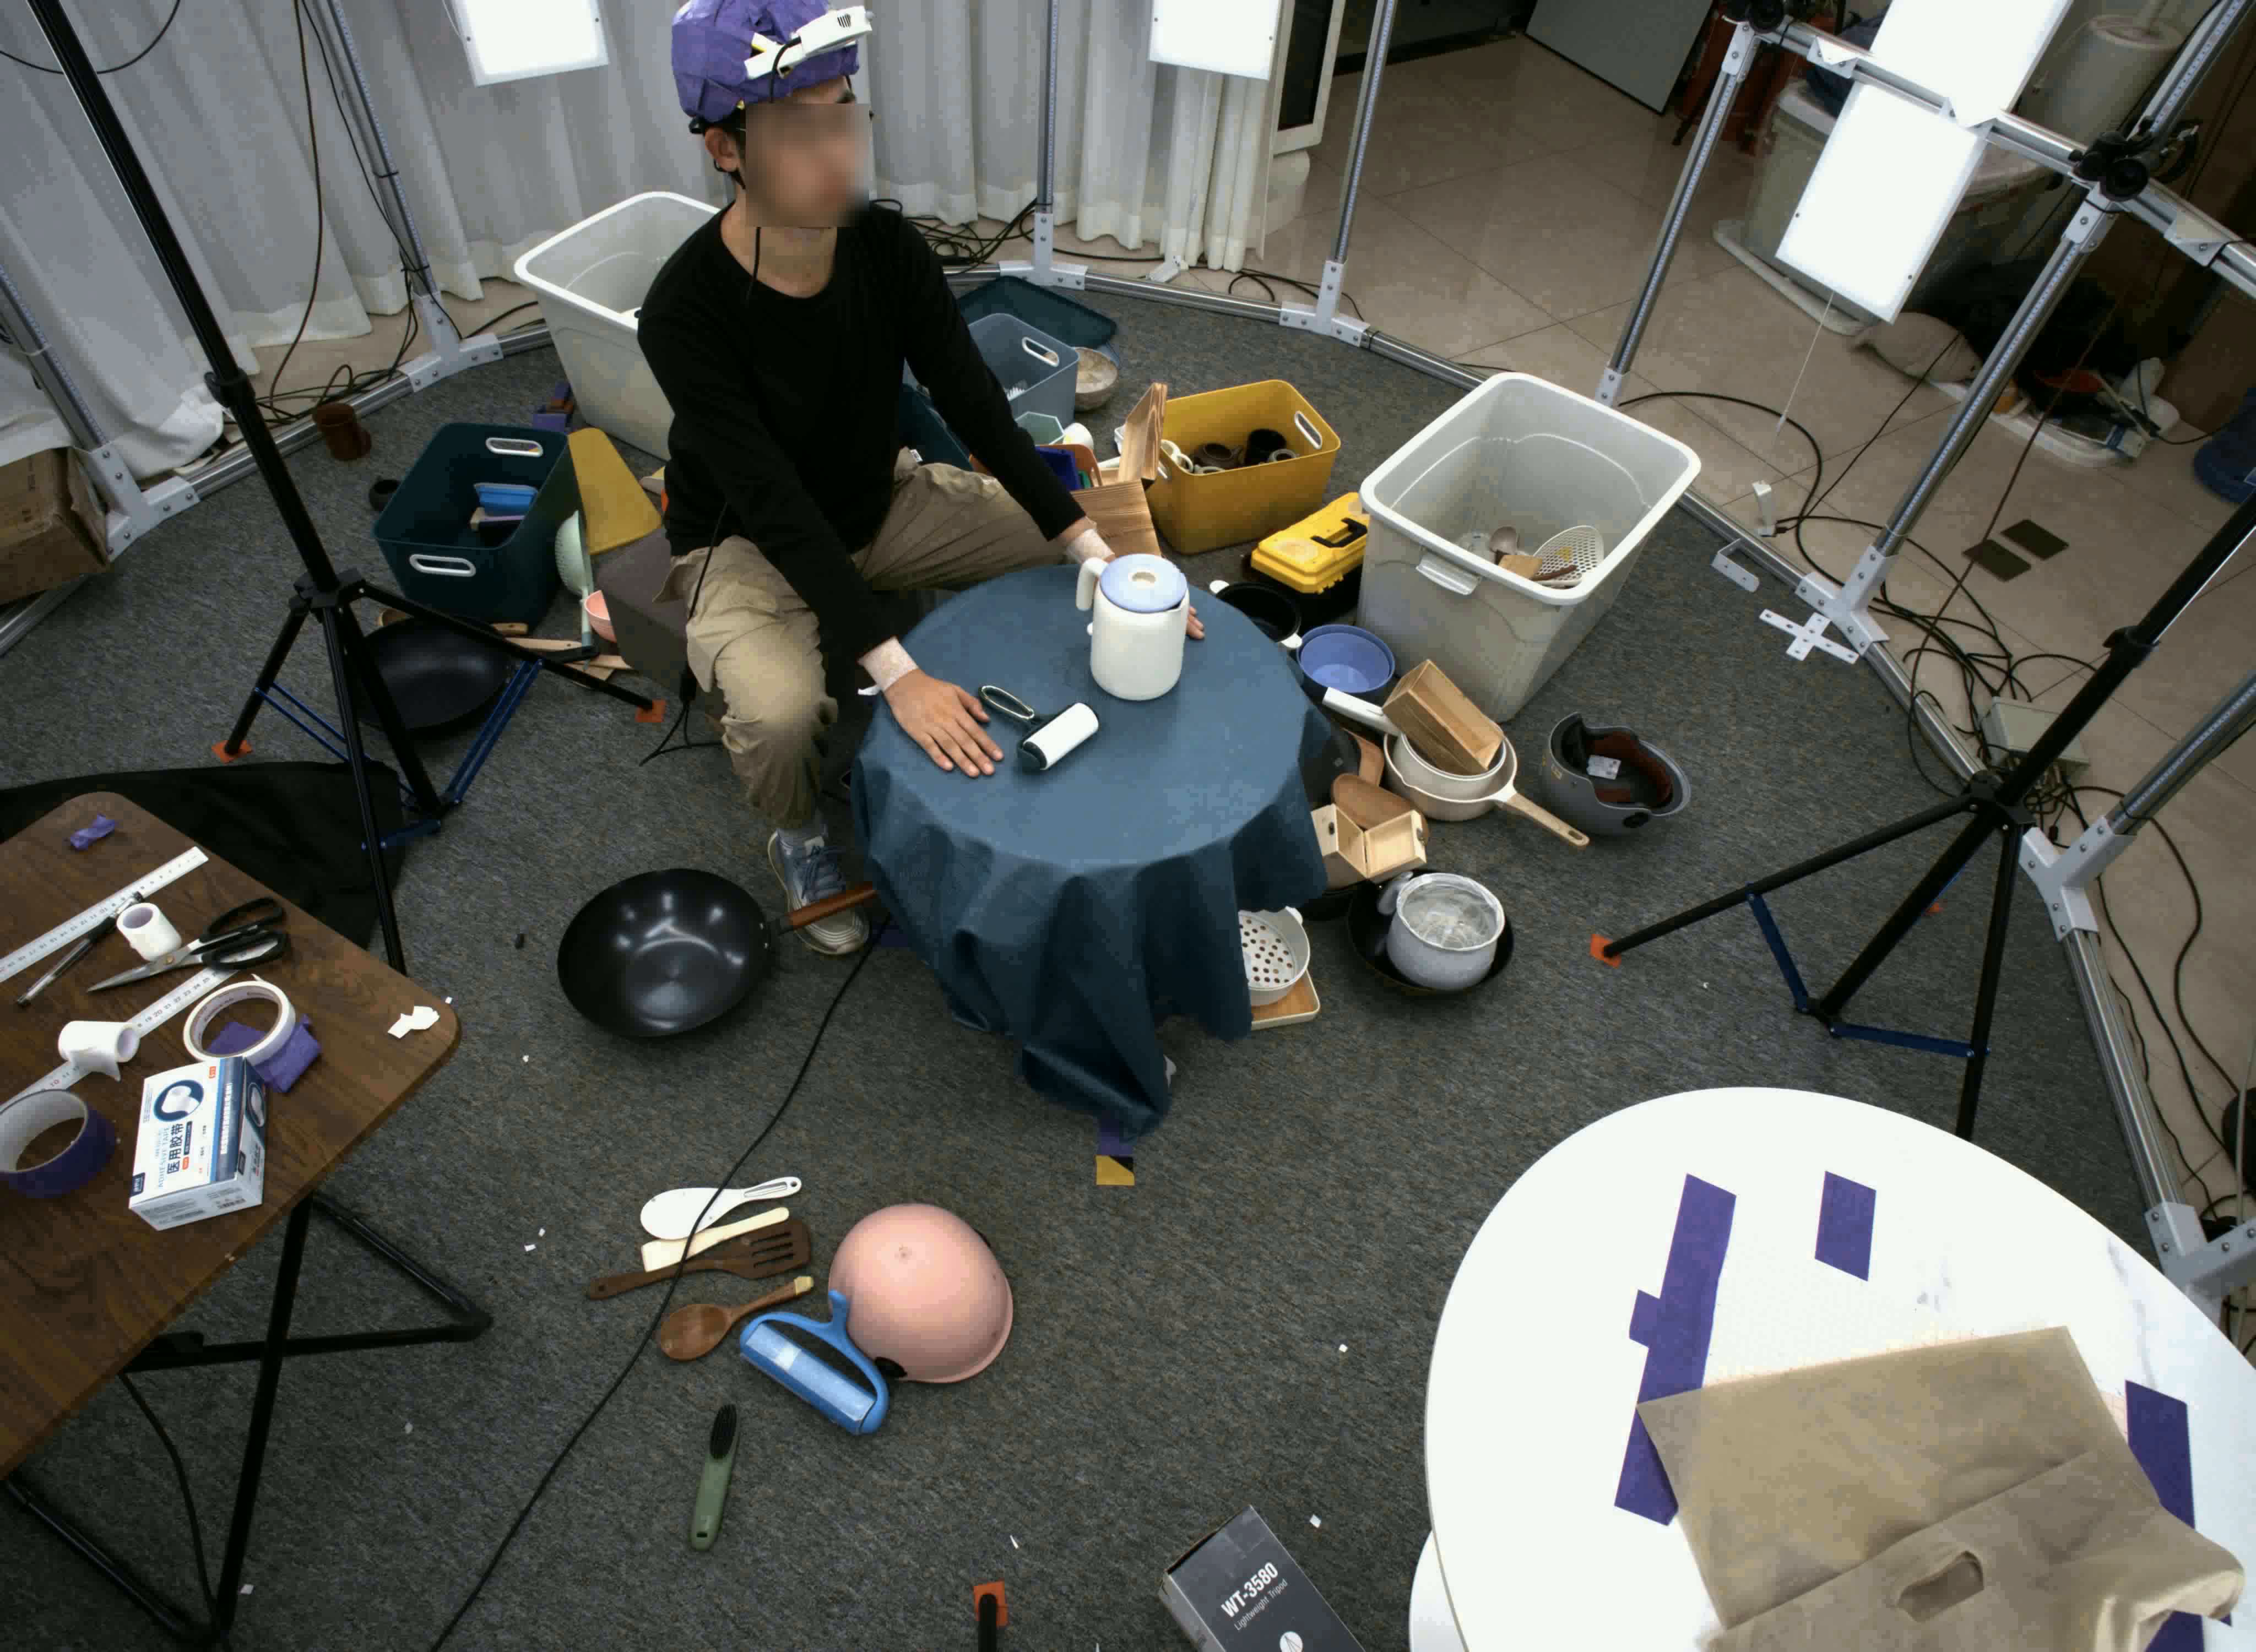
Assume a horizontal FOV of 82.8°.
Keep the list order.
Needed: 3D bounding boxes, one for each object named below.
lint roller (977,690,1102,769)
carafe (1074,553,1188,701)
[{"bbox_3d":[-0.142,-0.157,1.770,0.182,0.047,0.136,34,55,26],"label":"lint roller"},{"bbox_3d":[-0.003,-0.292,1.812,0.194,0.178,0.133,35,55,26],"label":"carafe"}]
